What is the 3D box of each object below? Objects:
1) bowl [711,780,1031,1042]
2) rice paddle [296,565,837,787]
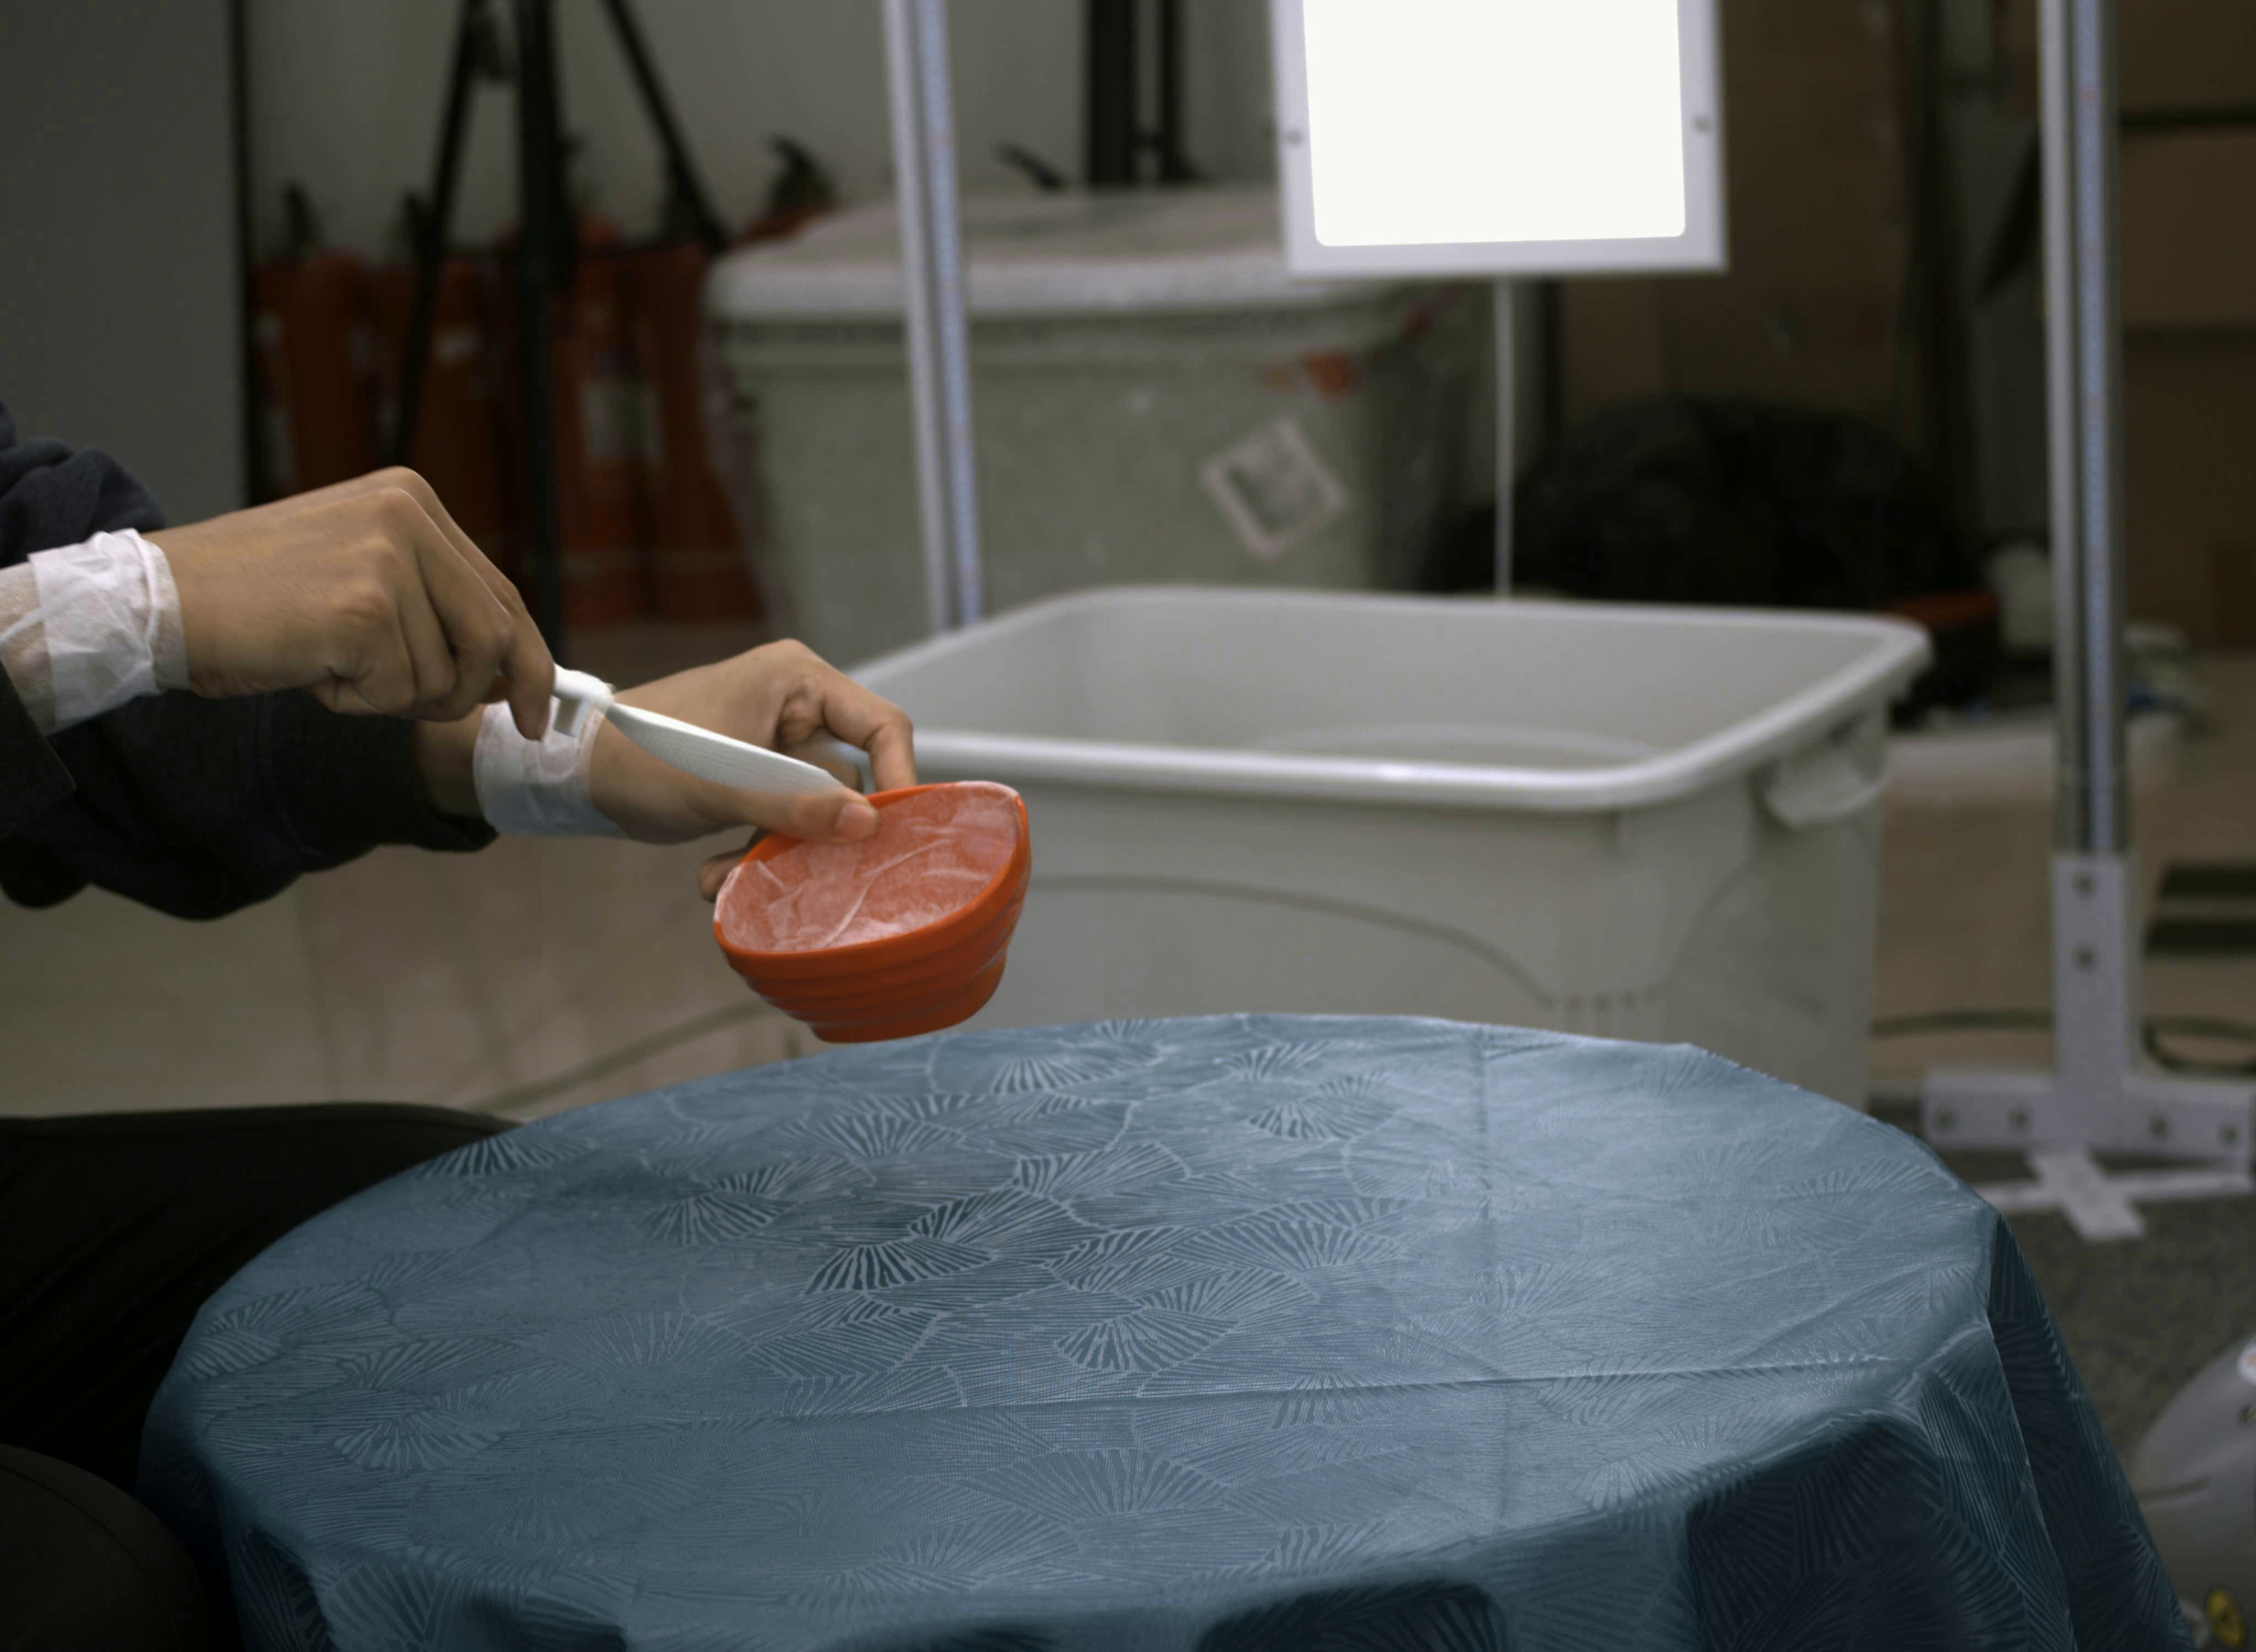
[{"bbox_3d":[-0.082,0.034,1.881,0.119,0.051,0.118,-15,26,6],"label":"bowl"},{"bbox_3d":[-0.176,-0.044,1.784,0.200,0.029,0.070,18,1,-38],"label":"rice paddle"}]
